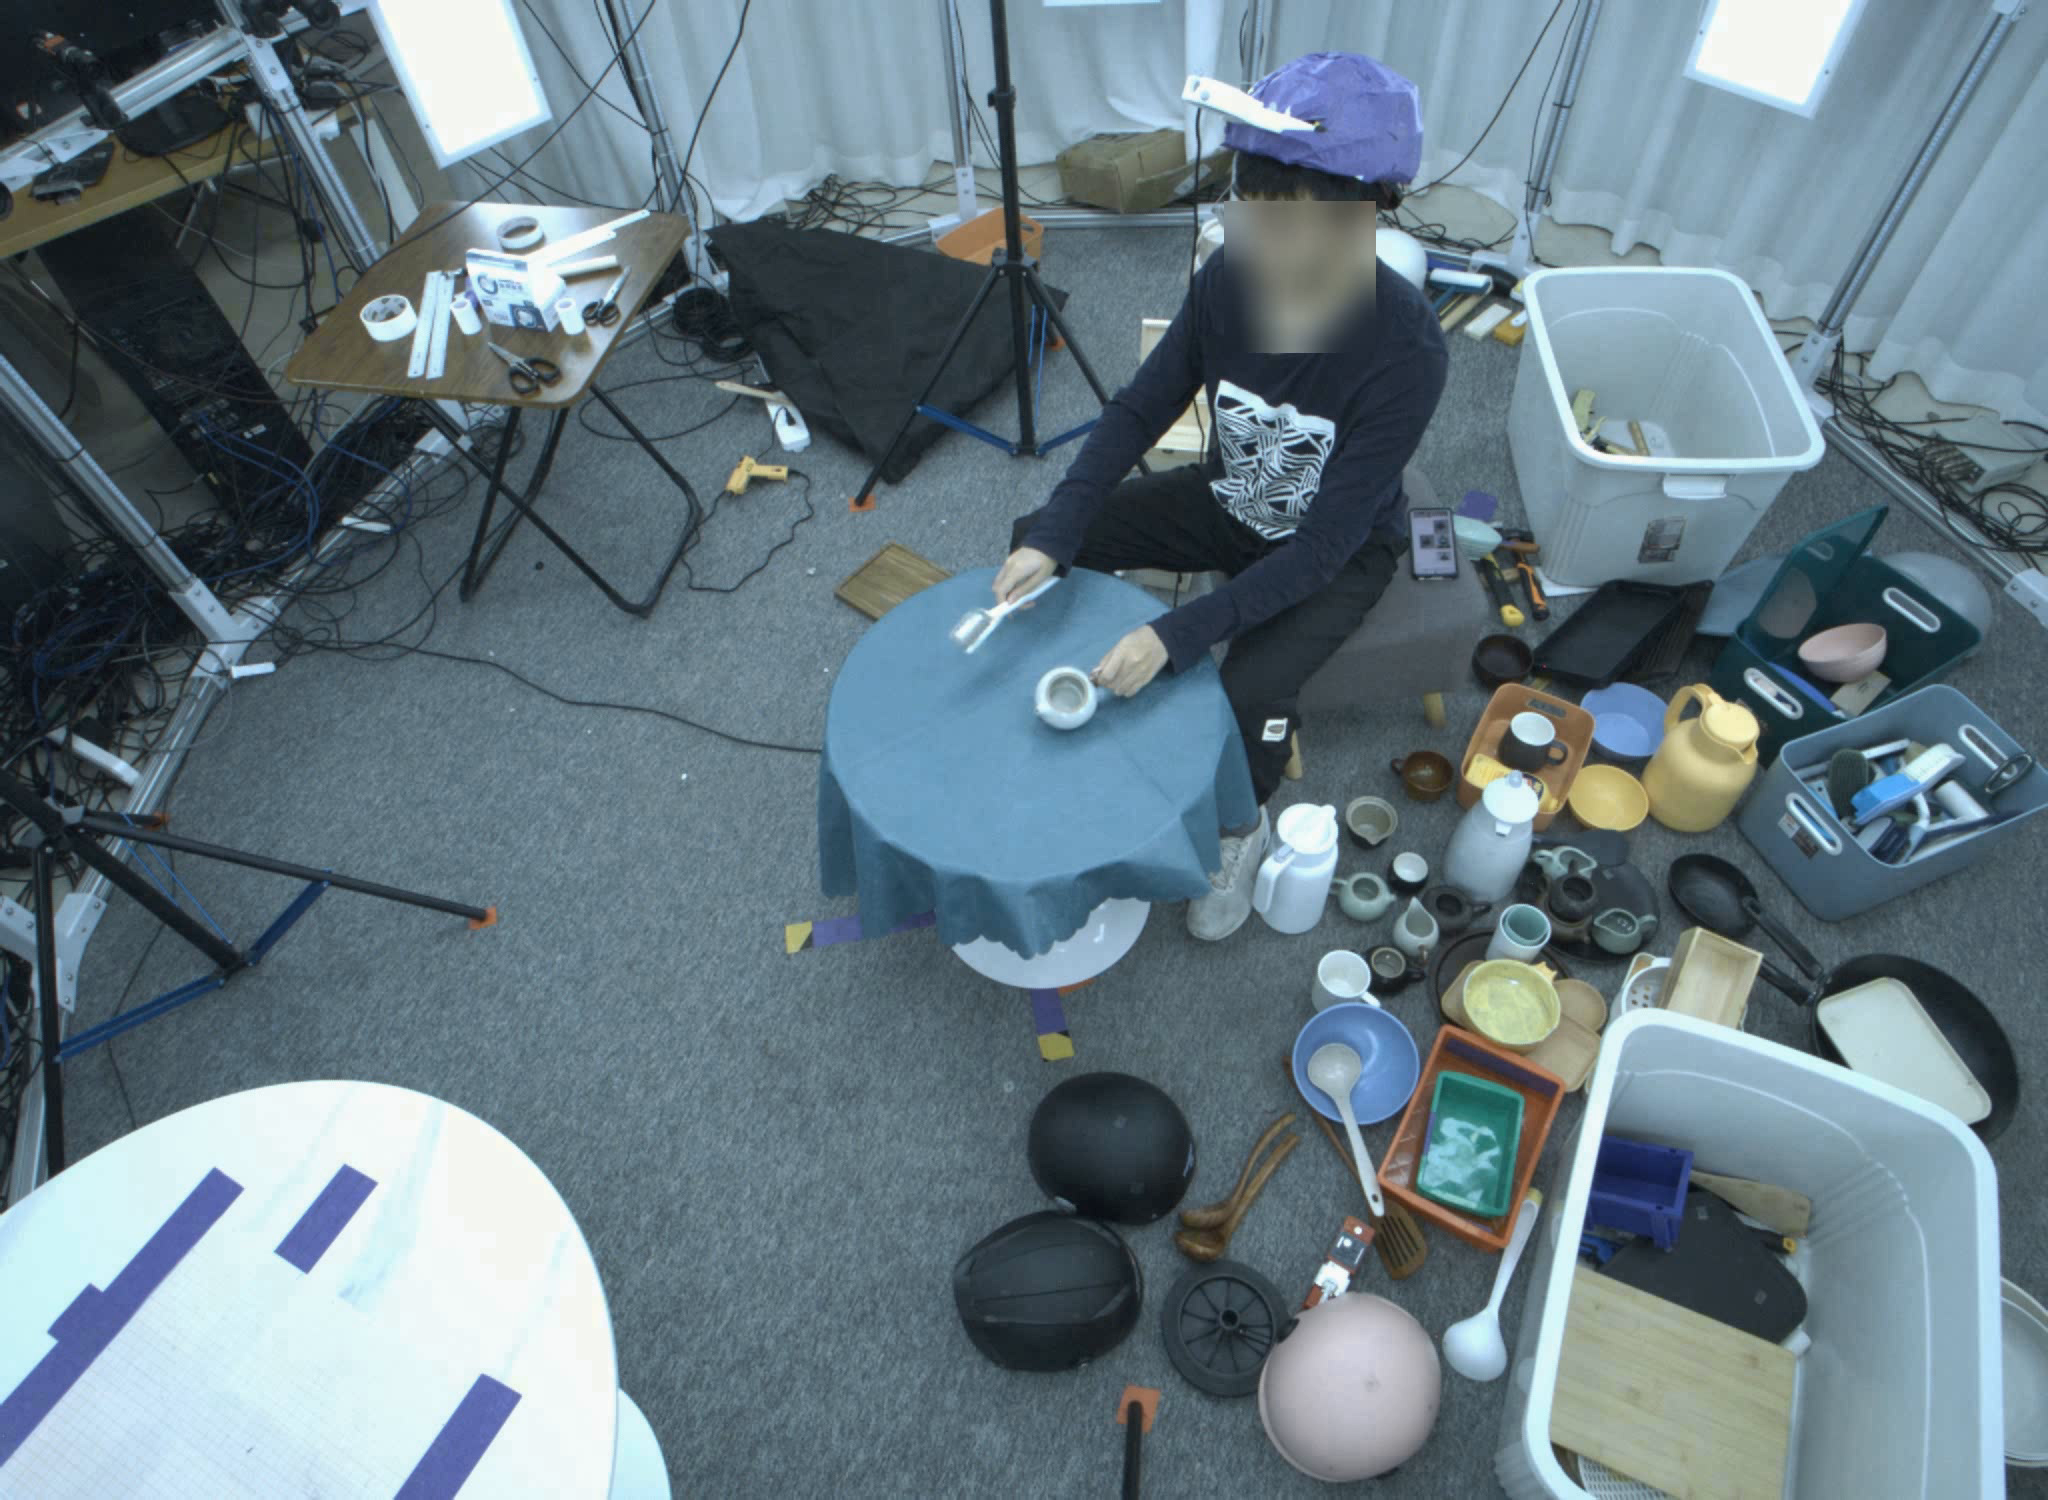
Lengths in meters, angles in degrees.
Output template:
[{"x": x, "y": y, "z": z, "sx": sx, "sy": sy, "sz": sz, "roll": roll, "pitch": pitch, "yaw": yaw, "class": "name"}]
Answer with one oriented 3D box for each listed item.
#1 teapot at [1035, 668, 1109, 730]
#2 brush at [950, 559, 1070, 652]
[{"x": 0.069, "y": -0.079, "z": 1.787, "sx": 0.128, "sy": 0.060, "sz": 0.091, "roll": -34, "pitch": 79, "yaw": -10, "class": "teapot"}, {"x": -0.016, "y": -0.229, "z": 1.843, "sx": 0.034, "sy": 0.050, "sz": 0.245, "roll": 41, "pitch": 65, "yaw": 18, "class": "brush"}]
